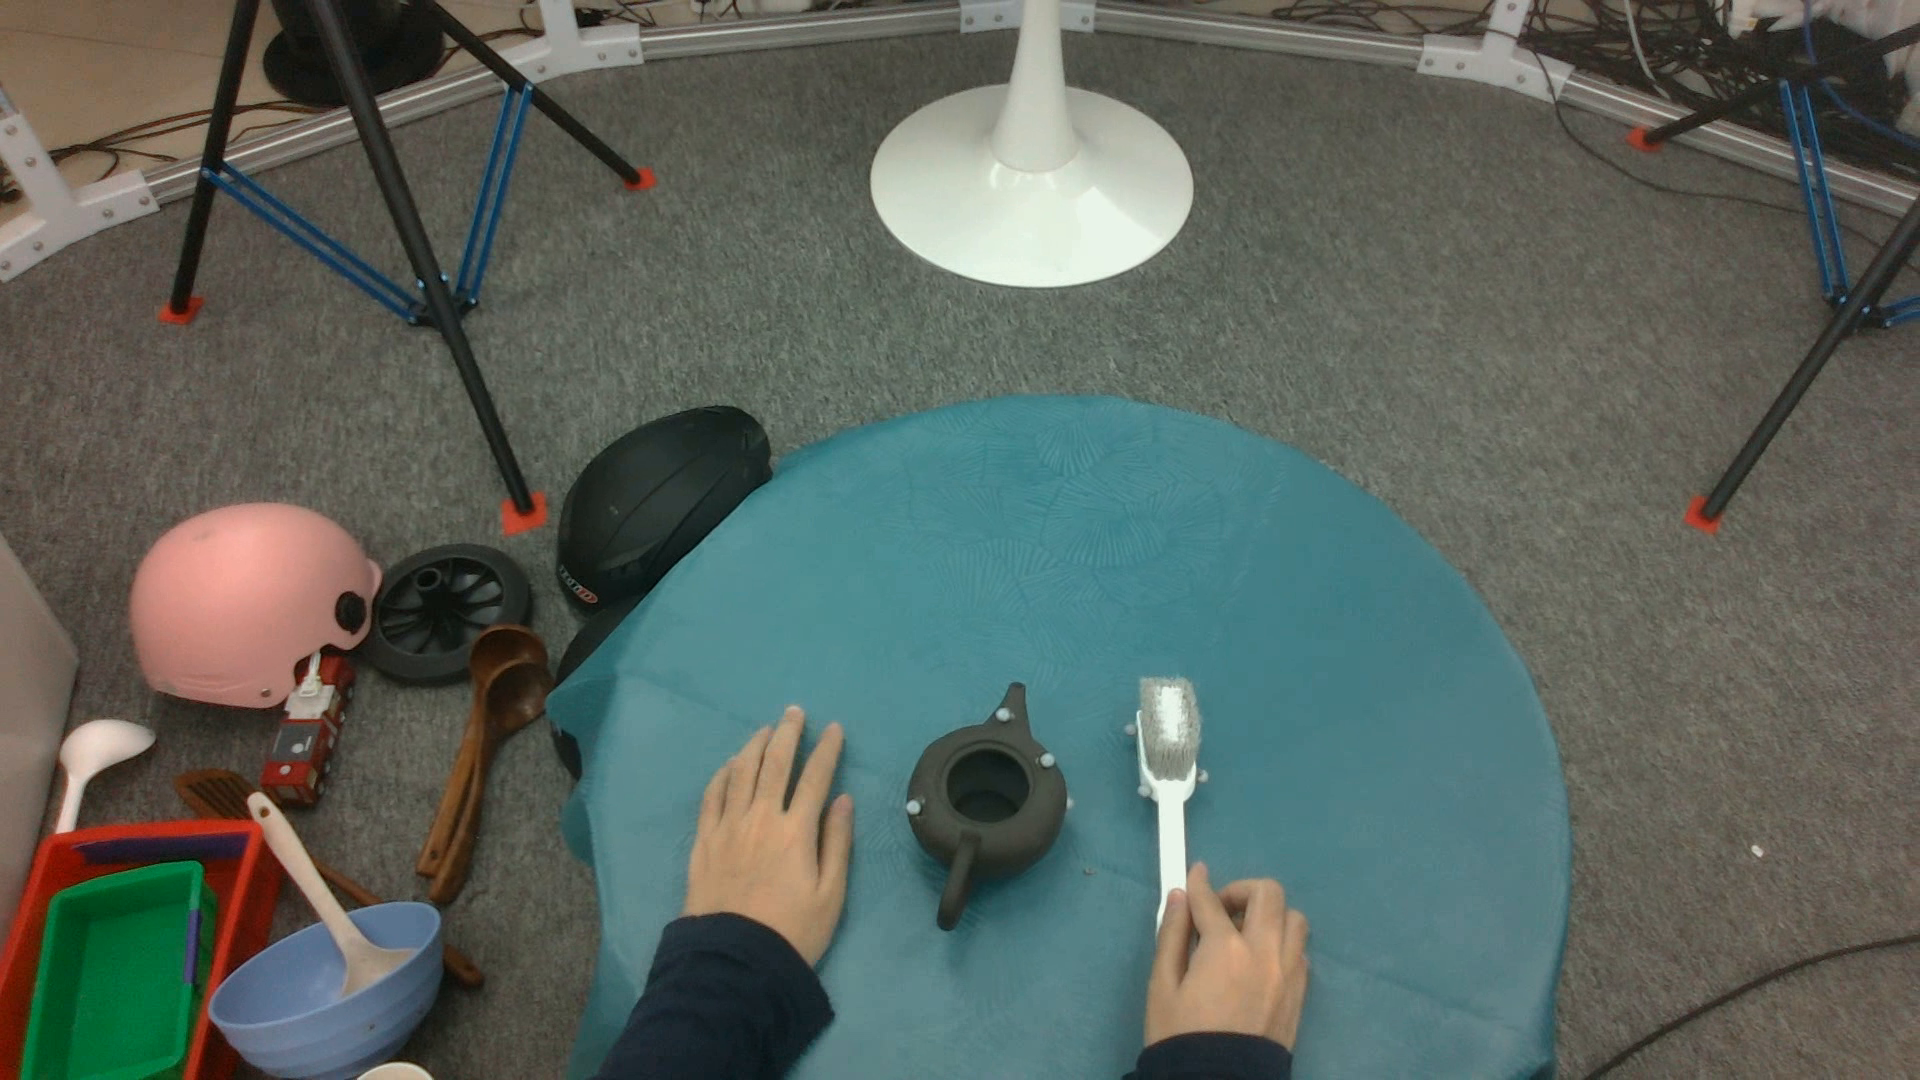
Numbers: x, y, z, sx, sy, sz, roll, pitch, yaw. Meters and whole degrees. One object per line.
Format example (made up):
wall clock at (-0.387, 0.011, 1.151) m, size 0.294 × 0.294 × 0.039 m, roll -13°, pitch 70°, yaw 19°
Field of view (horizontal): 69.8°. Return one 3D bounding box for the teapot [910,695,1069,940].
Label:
teapot at (0.016, 0.163, 0.808) m, size 0.092 × 0.064 × 0.155 m, roll 15°, pitch 53°, yaw 10°

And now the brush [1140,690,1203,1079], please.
brush at (0.123, 0.193, 0.793) m, size 0.034 × 0.050 × 0.245 m, roll 5°, pitch 51°, yaw 1°
